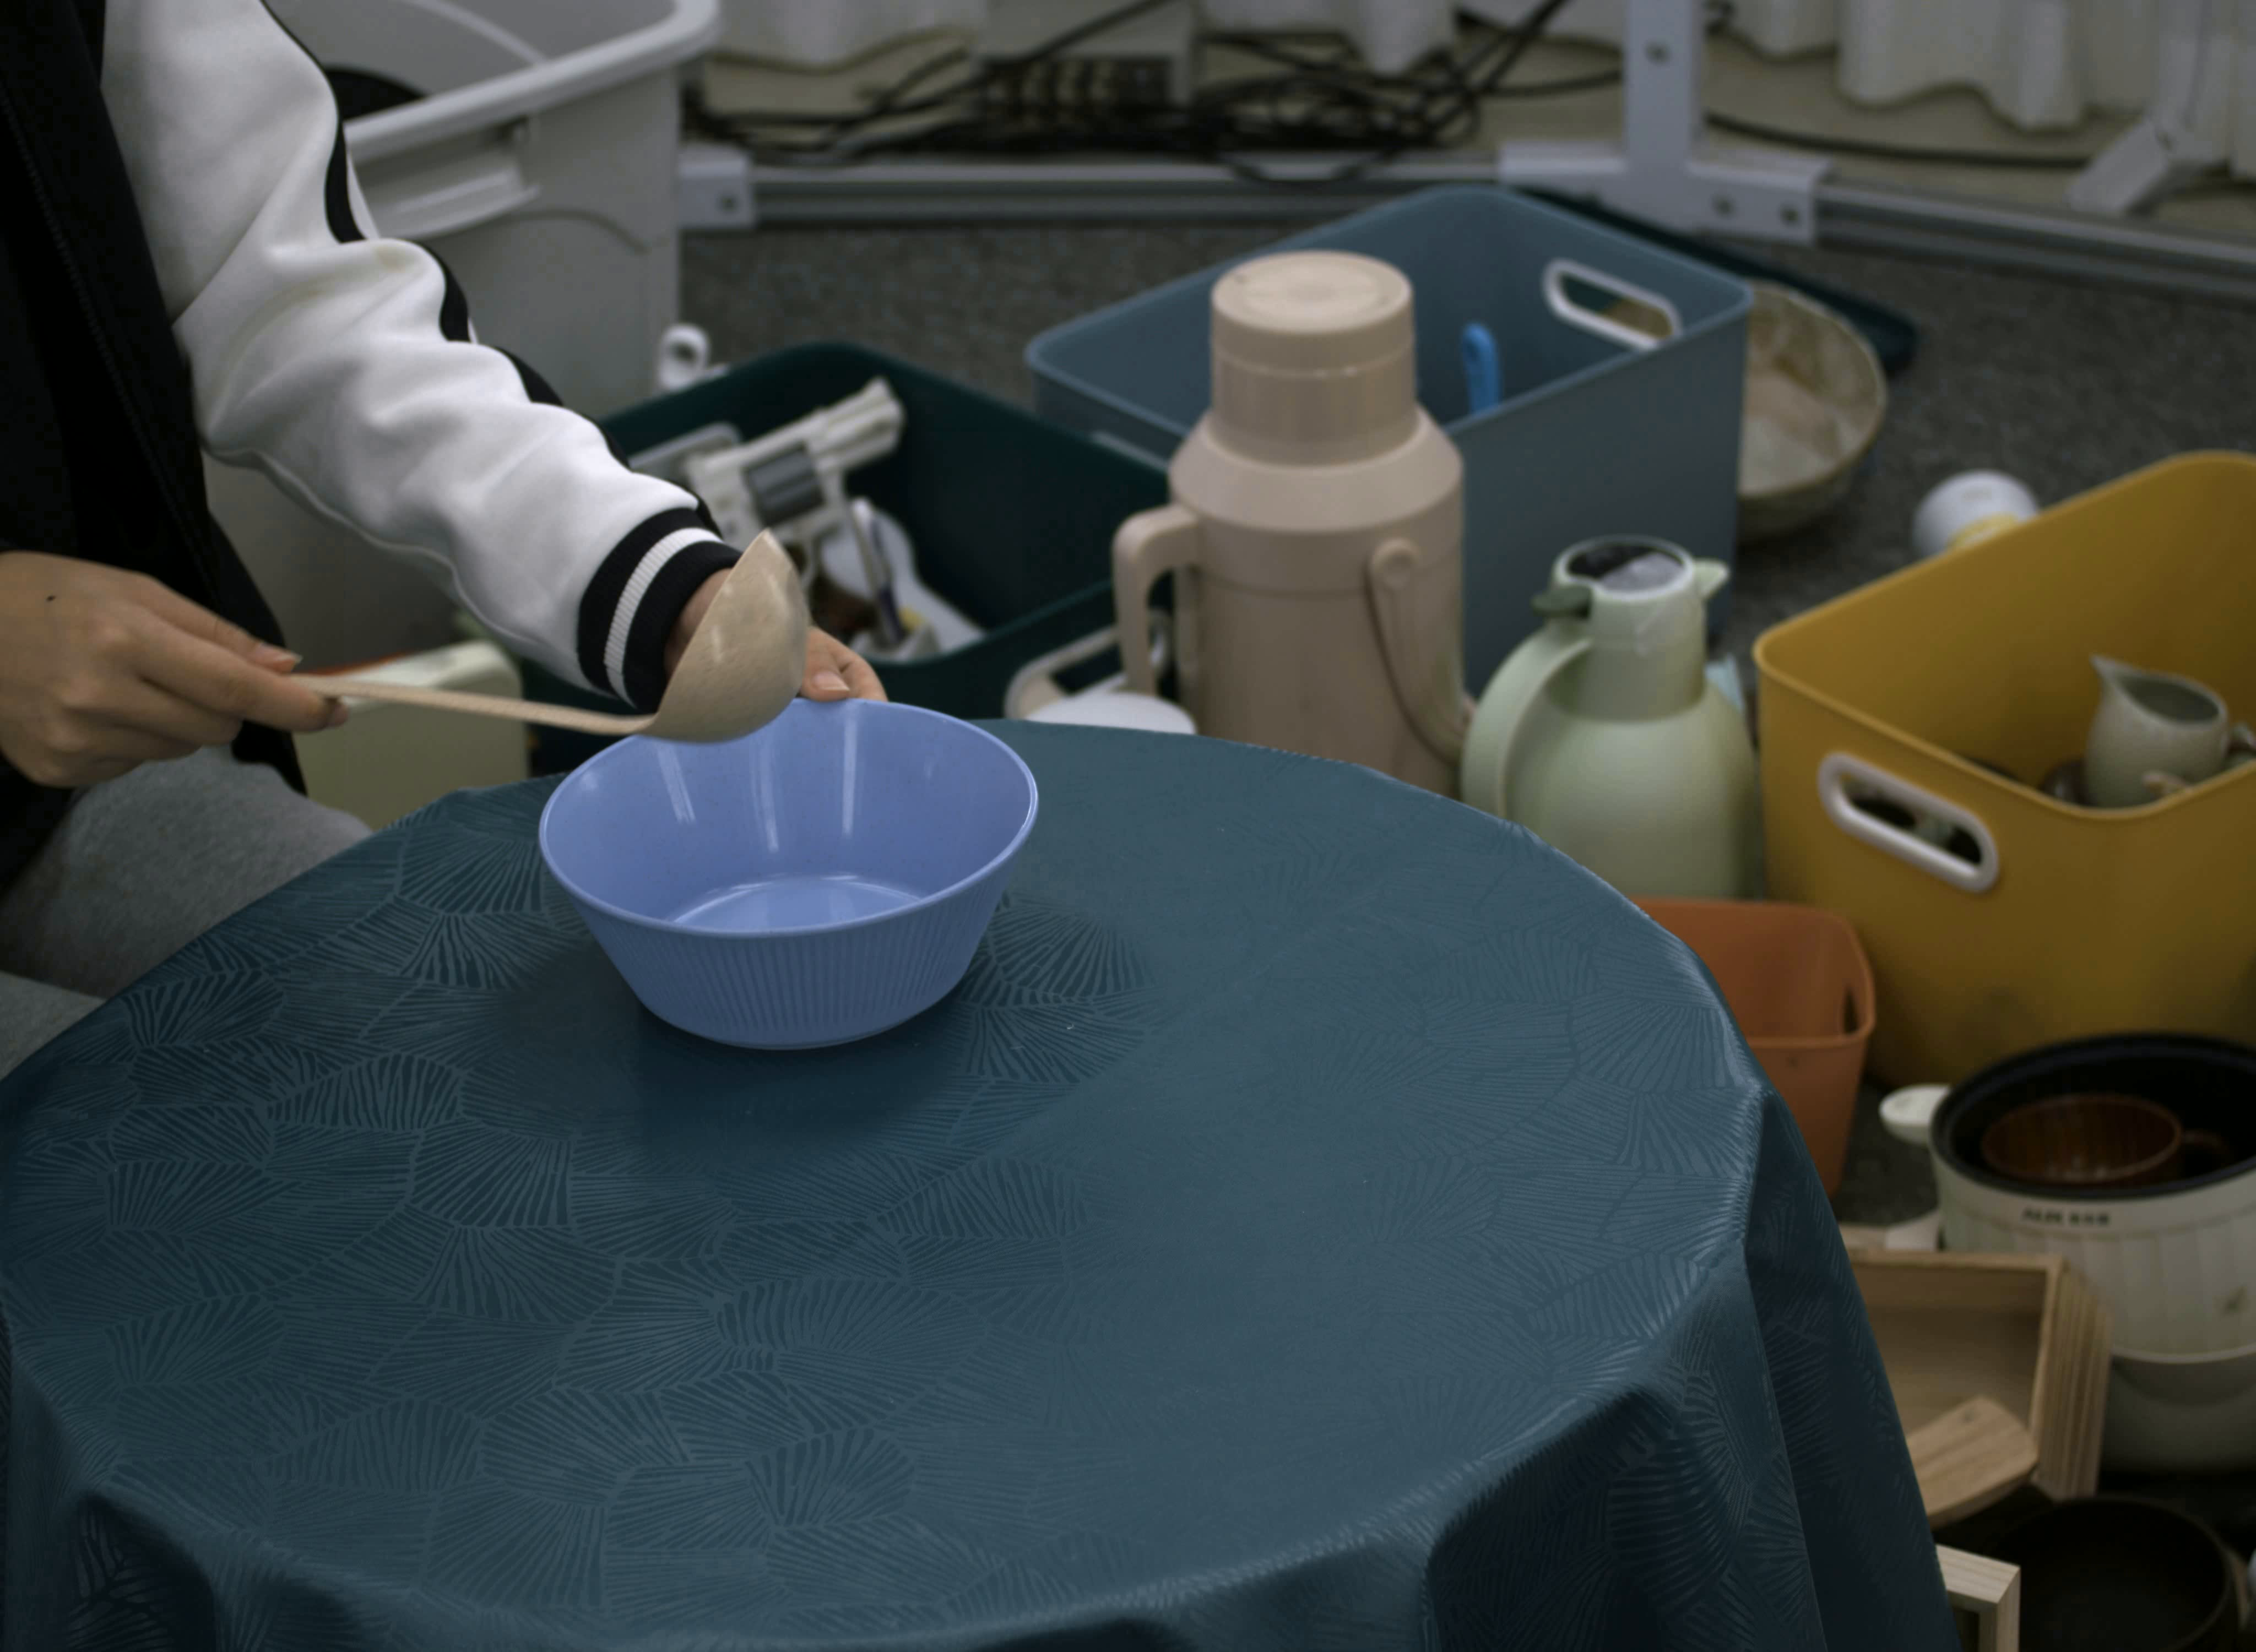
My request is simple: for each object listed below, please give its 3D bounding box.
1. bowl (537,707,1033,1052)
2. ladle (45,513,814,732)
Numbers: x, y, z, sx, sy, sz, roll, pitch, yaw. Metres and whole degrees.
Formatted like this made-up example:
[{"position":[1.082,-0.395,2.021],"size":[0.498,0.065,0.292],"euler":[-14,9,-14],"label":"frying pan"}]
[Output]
[{"position":[-0.119,0.024,1.986],"size":[0.175,0.069,0.179],"euler":[-1,26,1],"label":"bowl"},{"position":[-0.230,-0.071,1.849],"size":[0.253,0.073,0.072],"euler":[3,8,3],"label":"ladle"}]
